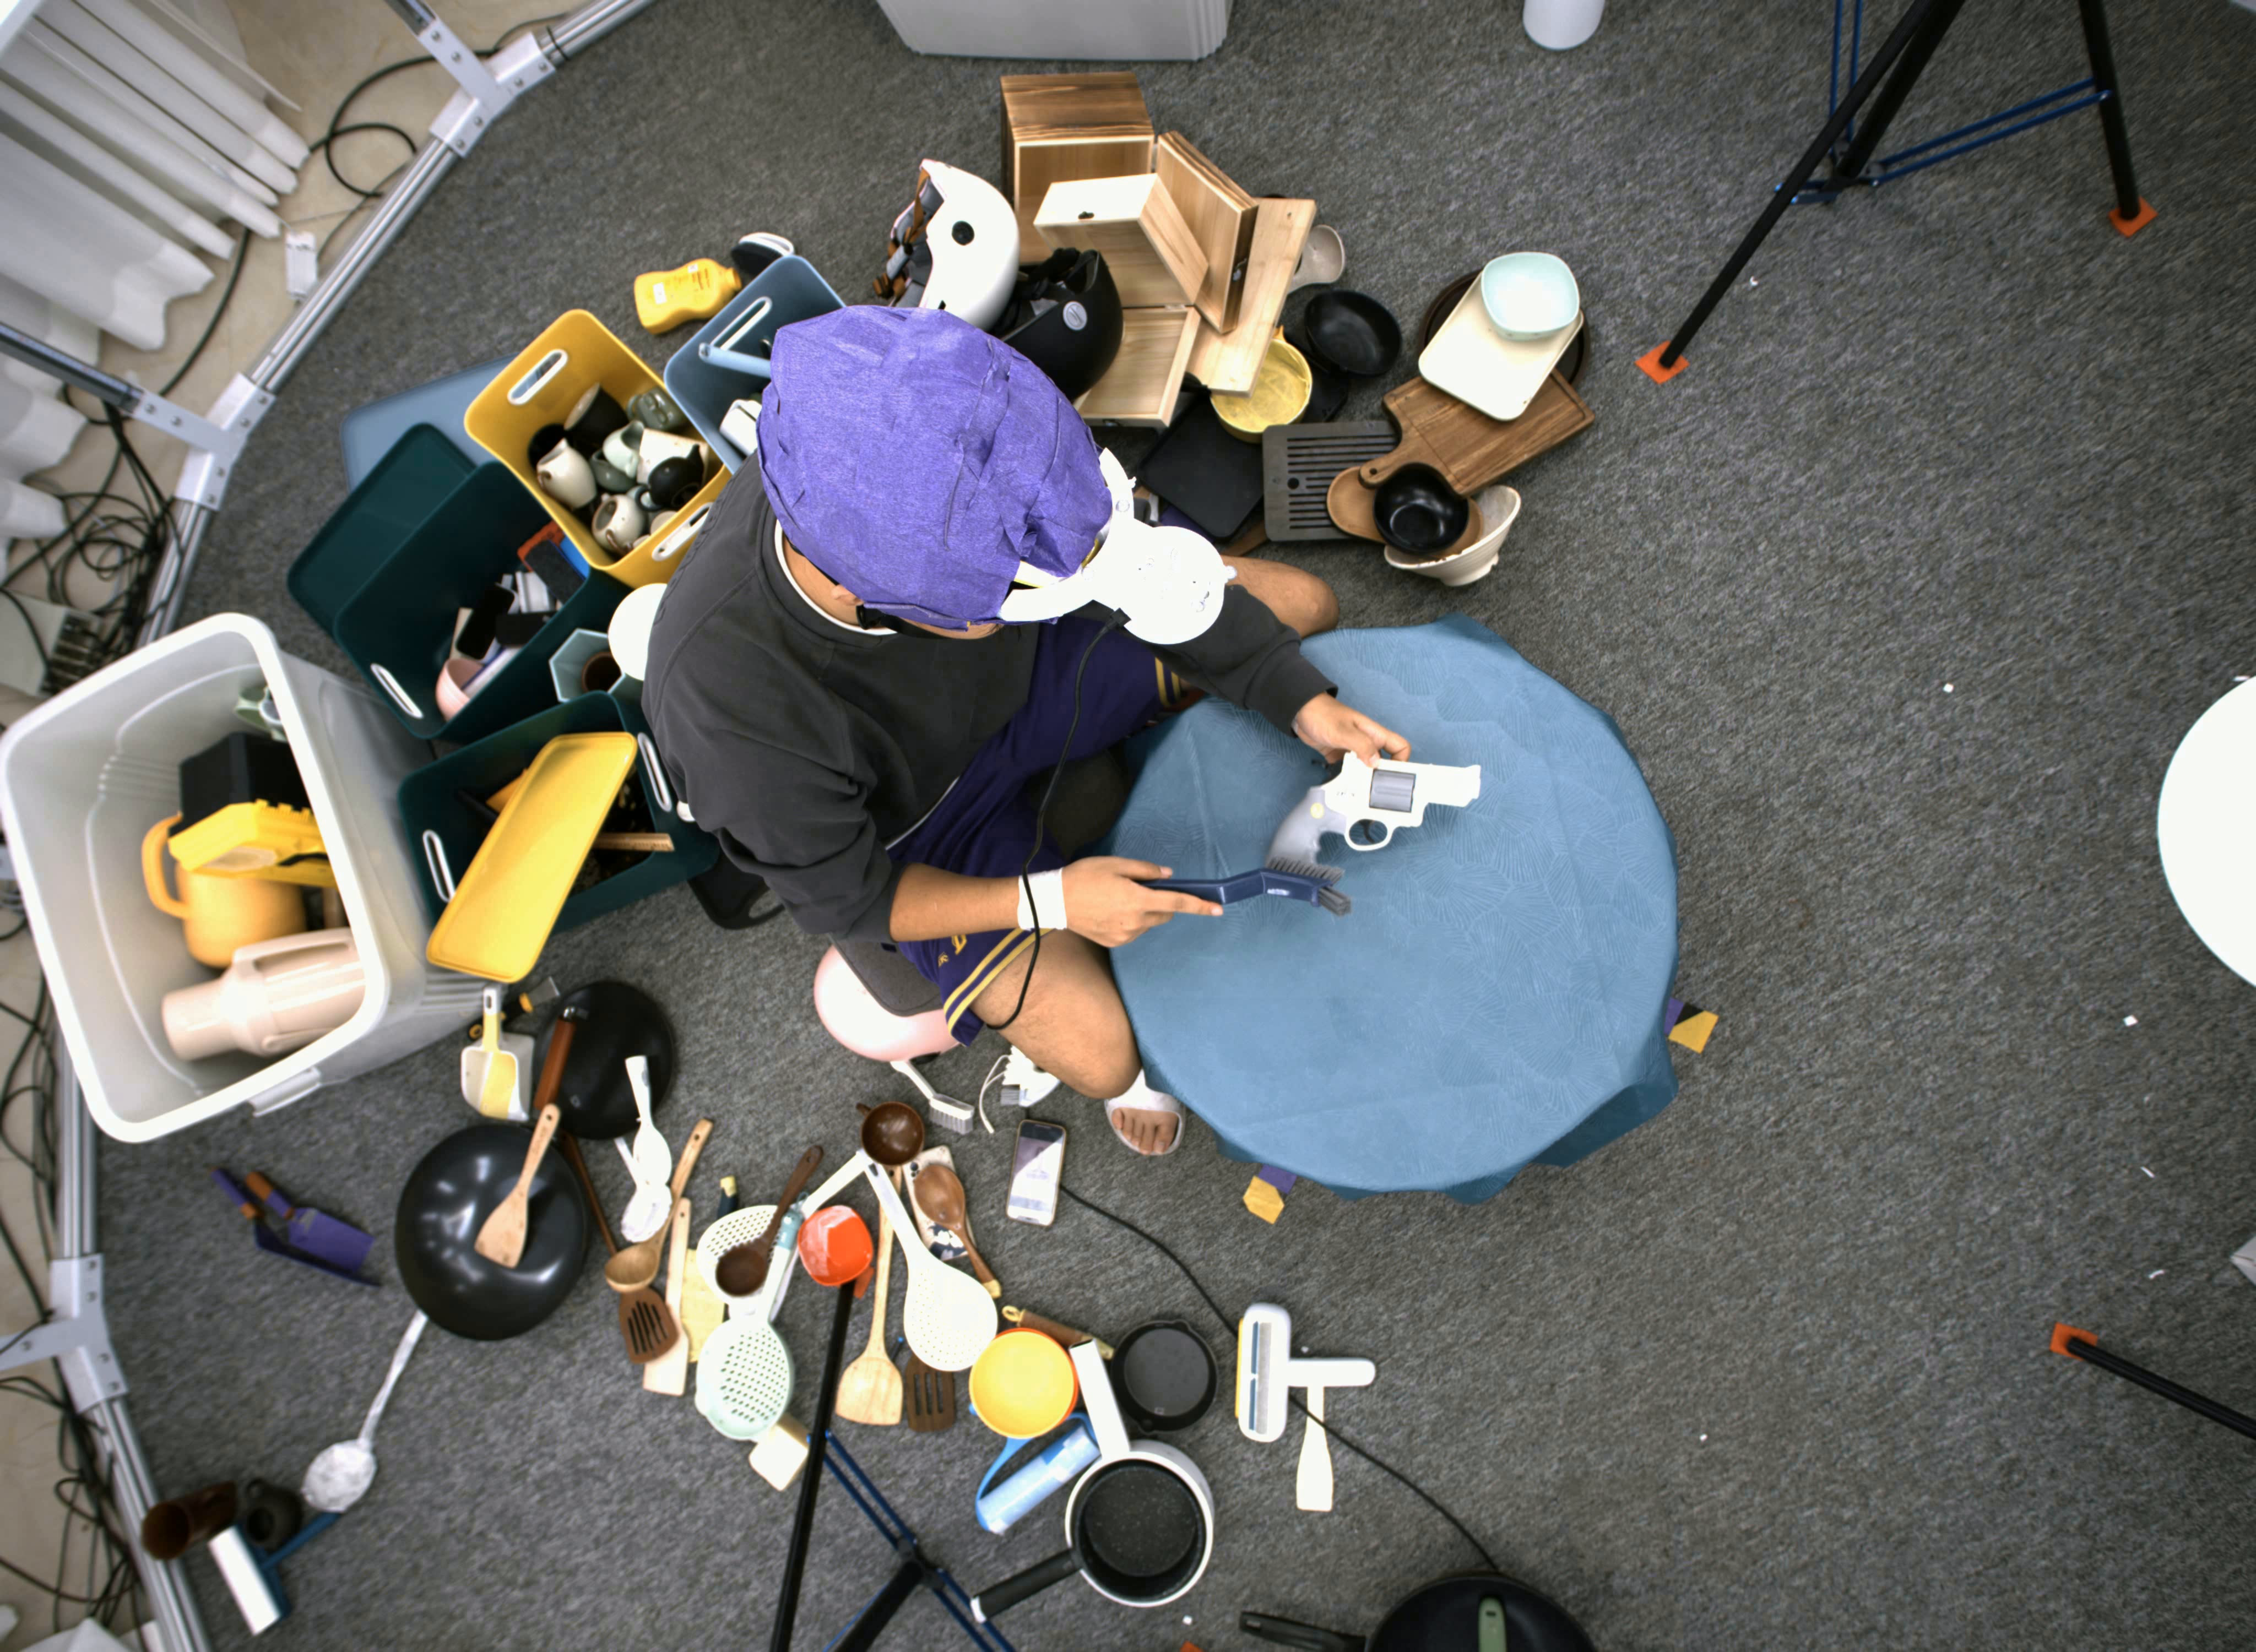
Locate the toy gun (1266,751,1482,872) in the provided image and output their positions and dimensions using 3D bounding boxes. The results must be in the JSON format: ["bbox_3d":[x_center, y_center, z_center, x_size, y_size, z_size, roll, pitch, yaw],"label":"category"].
[{"bbox_3d":[0.247,-0.004,1.398,0.210,0.038,0.143,6,102,15],"label":"toy gun"}]

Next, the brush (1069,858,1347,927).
[{"bbox_3d":[0.076,0.066,1.368,0.274,0.093,0.034,-5,129,8],"label":"brush"}]
